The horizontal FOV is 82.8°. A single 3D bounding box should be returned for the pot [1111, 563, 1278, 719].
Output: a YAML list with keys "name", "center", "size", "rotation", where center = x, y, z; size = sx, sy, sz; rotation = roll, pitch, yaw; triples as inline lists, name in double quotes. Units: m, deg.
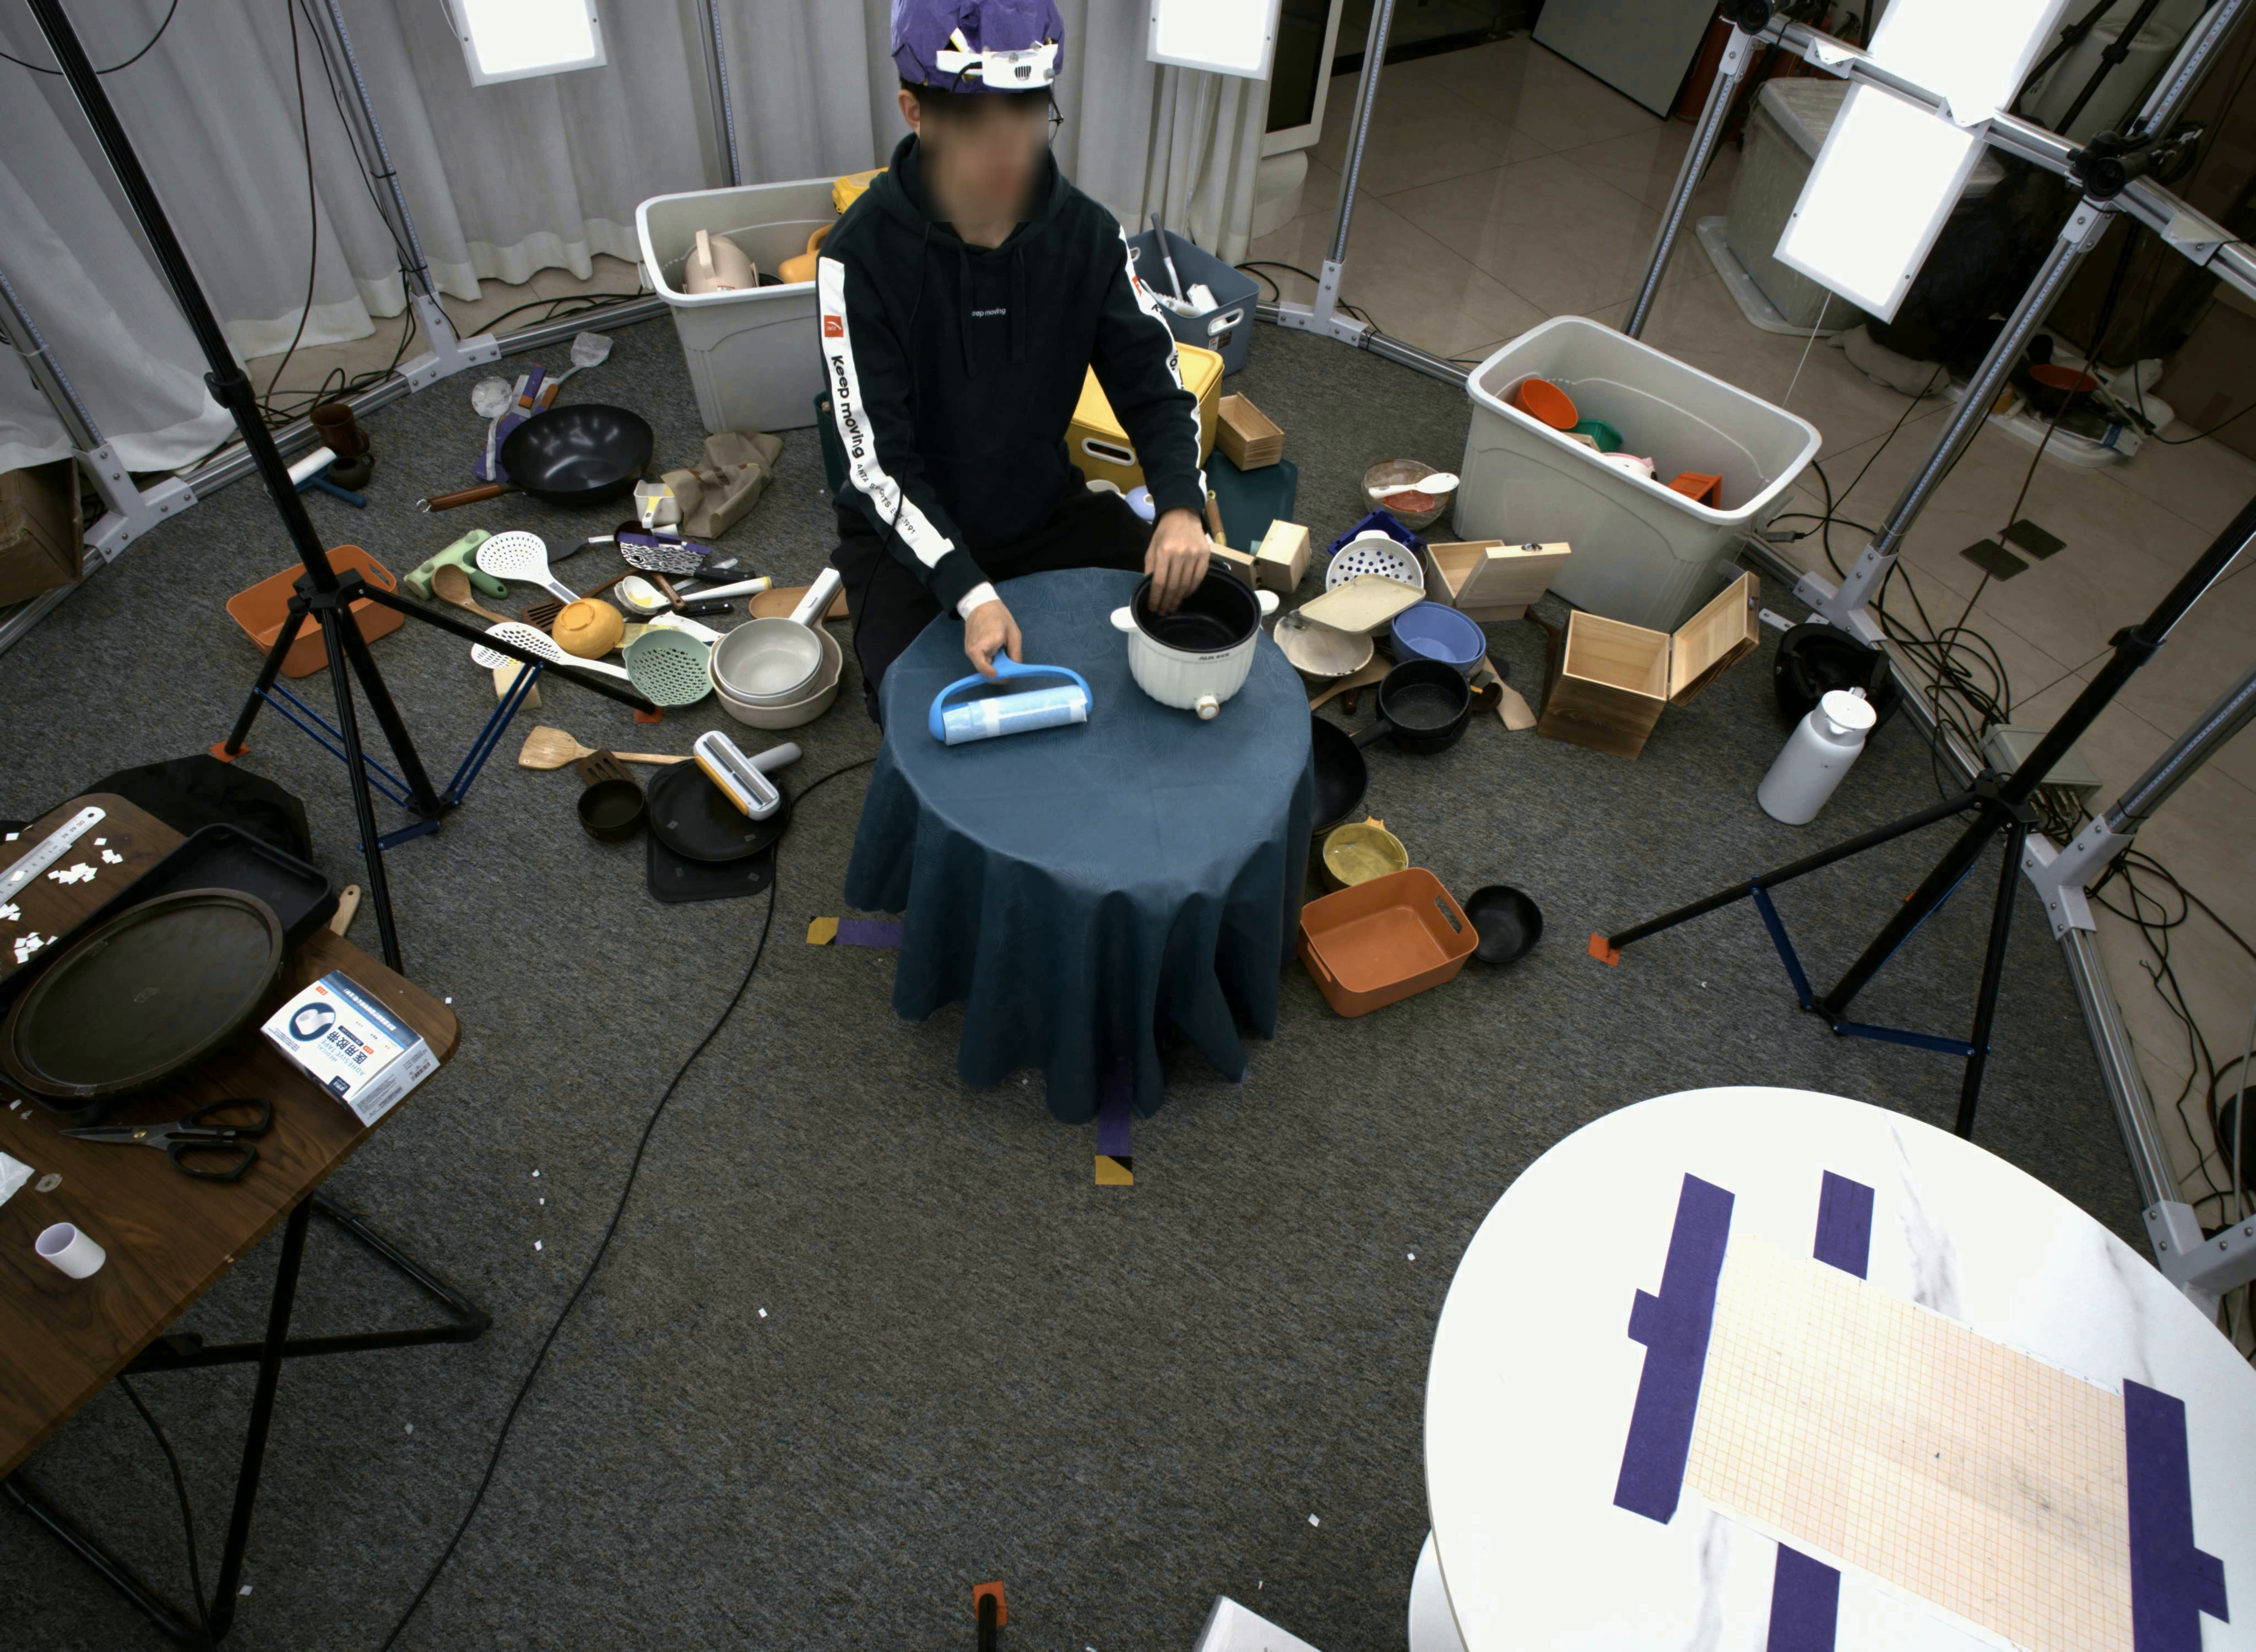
- name: "pot"
  center: [0.093, -0.256, 1.807]
  size: [0.240, 0.139, 0.195]
  rotation: [-11, 48, -11]

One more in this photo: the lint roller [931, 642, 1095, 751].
- name: "lint roller"
  center: [-0.175, -0.200, 1.784]
  size: [0.229, 0.066, 0.184]
  rotation: [-16, 61, -13]
